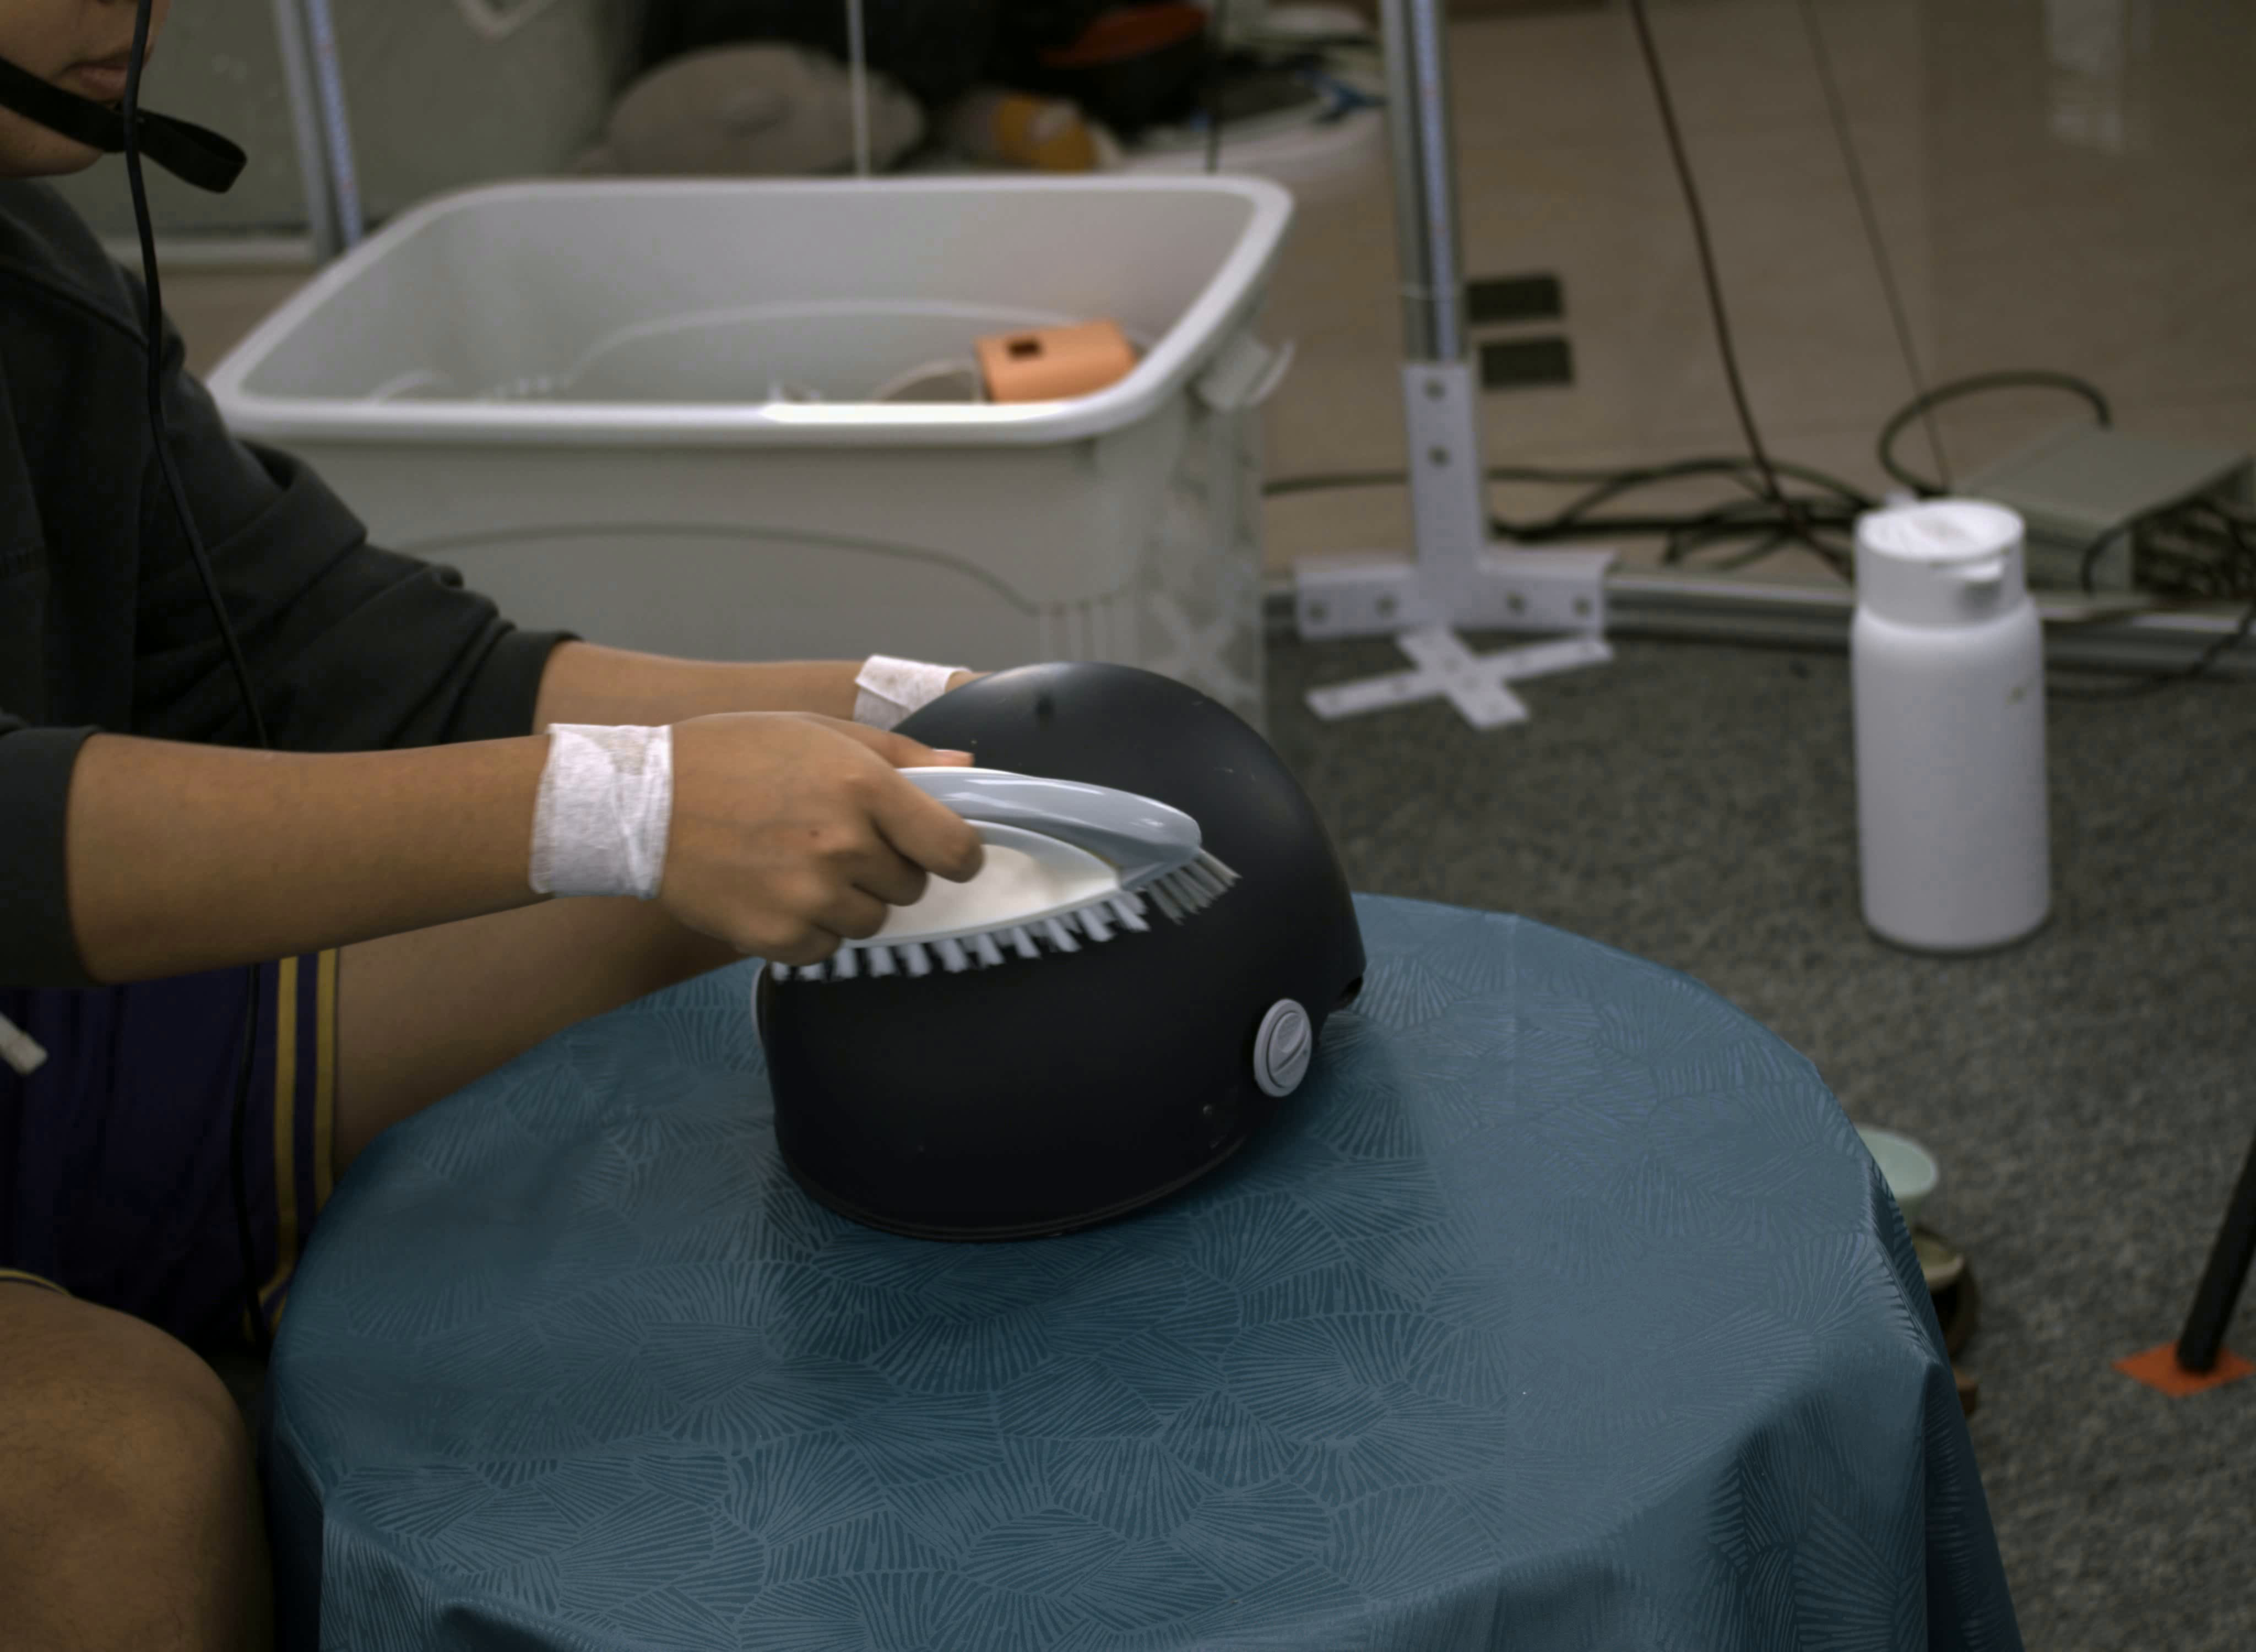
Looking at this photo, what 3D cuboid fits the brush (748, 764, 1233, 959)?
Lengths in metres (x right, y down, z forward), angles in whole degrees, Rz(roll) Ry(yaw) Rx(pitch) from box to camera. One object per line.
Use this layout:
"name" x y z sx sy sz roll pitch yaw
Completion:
"brush" -0.053 0.003 2.065 0.175 0.095 0.060 -1 65 9

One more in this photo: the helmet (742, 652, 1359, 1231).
"helmet" -0.035 0.028 2.202 0.229 0.169 0.269 5 29 24
